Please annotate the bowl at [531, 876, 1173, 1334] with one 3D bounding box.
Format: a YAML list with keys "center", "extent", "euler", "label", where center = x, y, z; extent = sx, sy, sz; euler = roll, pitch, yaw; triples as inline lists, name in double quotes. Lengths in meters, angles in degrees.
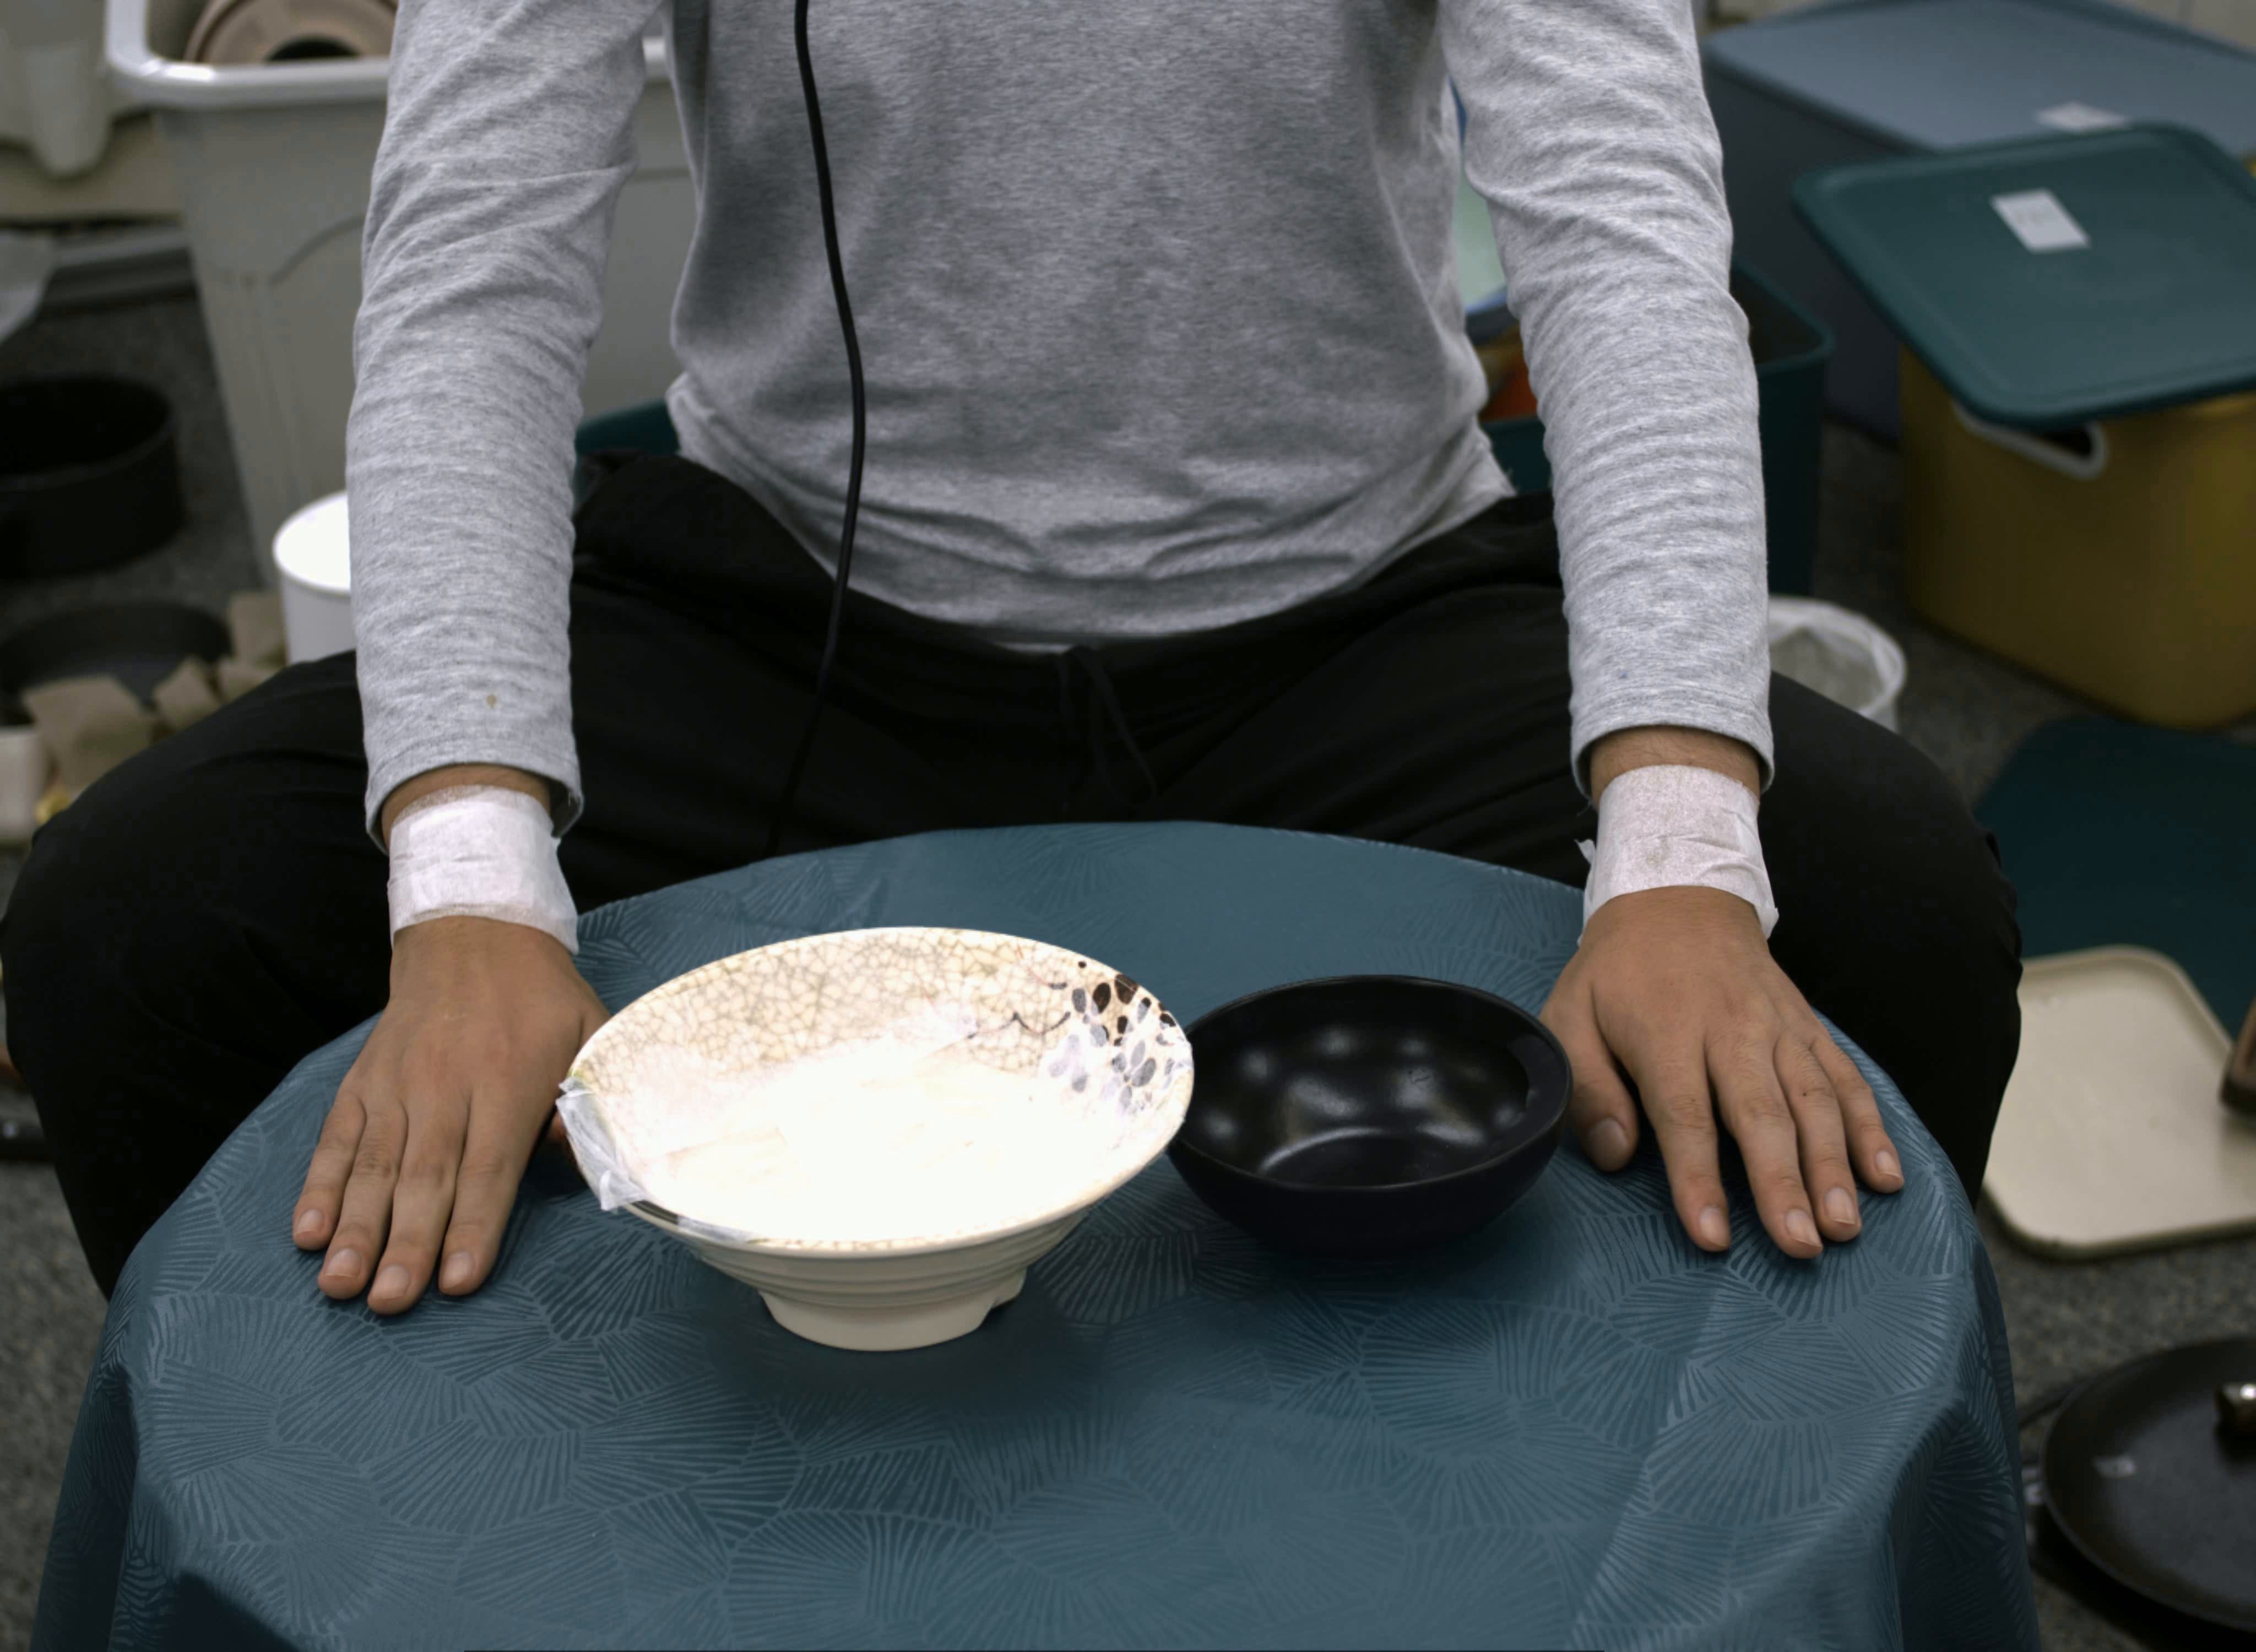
- center: [-0.087, 0.105, 1.794]
  extent: [0.203, 0.077, 0.207]
  euler: [0, 34, 0]
  label: "bowl"

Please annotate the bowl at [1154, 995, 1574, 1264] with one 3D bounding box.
- center: [0.077, 0.106, 1.839]
  extent: [0.139, 0.049, 0.142]
  euler: [-1, 22, 1]
  label: "bowl"
